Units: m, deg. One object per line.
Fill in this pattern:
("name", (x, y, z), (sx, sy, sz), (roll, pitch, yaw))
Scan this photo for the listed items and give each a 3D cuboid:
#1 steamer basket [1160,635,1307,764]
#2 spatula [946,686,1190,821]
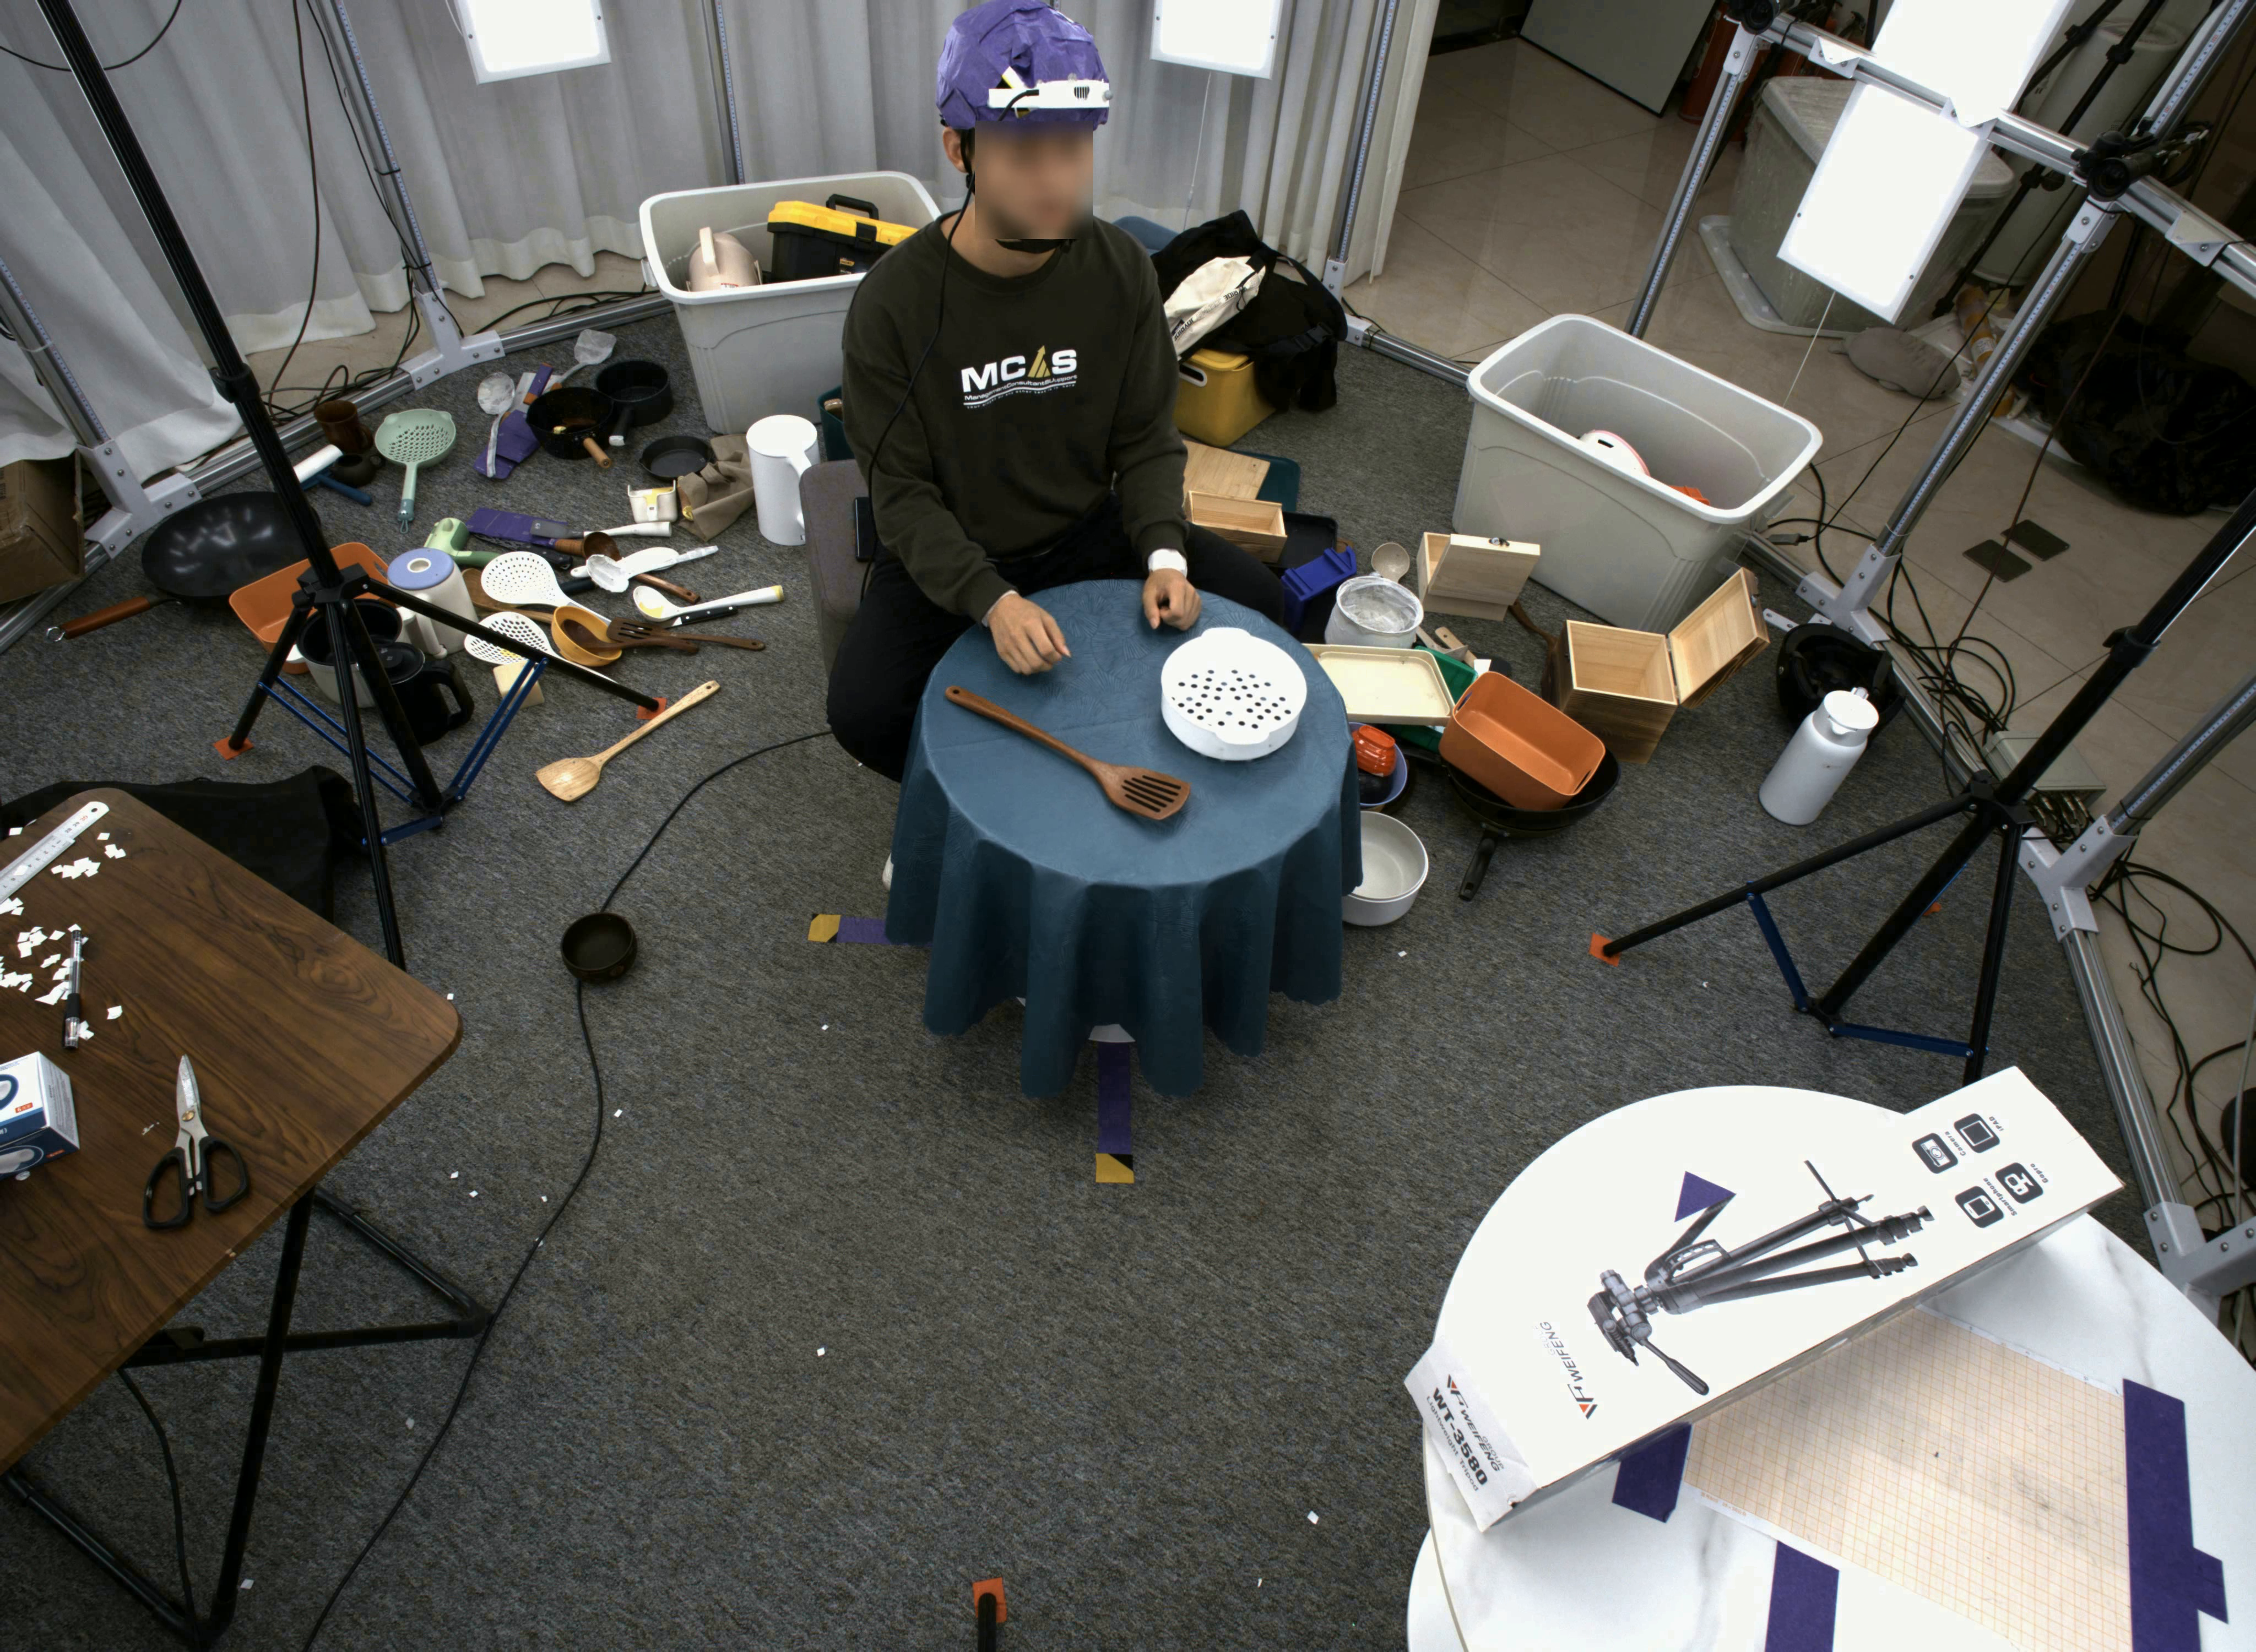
("steamer basket", (0.145, -0.173, 1.788), (0.201, 0.067, 0.236), (1, 45, -6))
("spatula", (-0.093, -0.105, 1.739), (0.389, 0.023, 0.087), (28, 51, 20))
